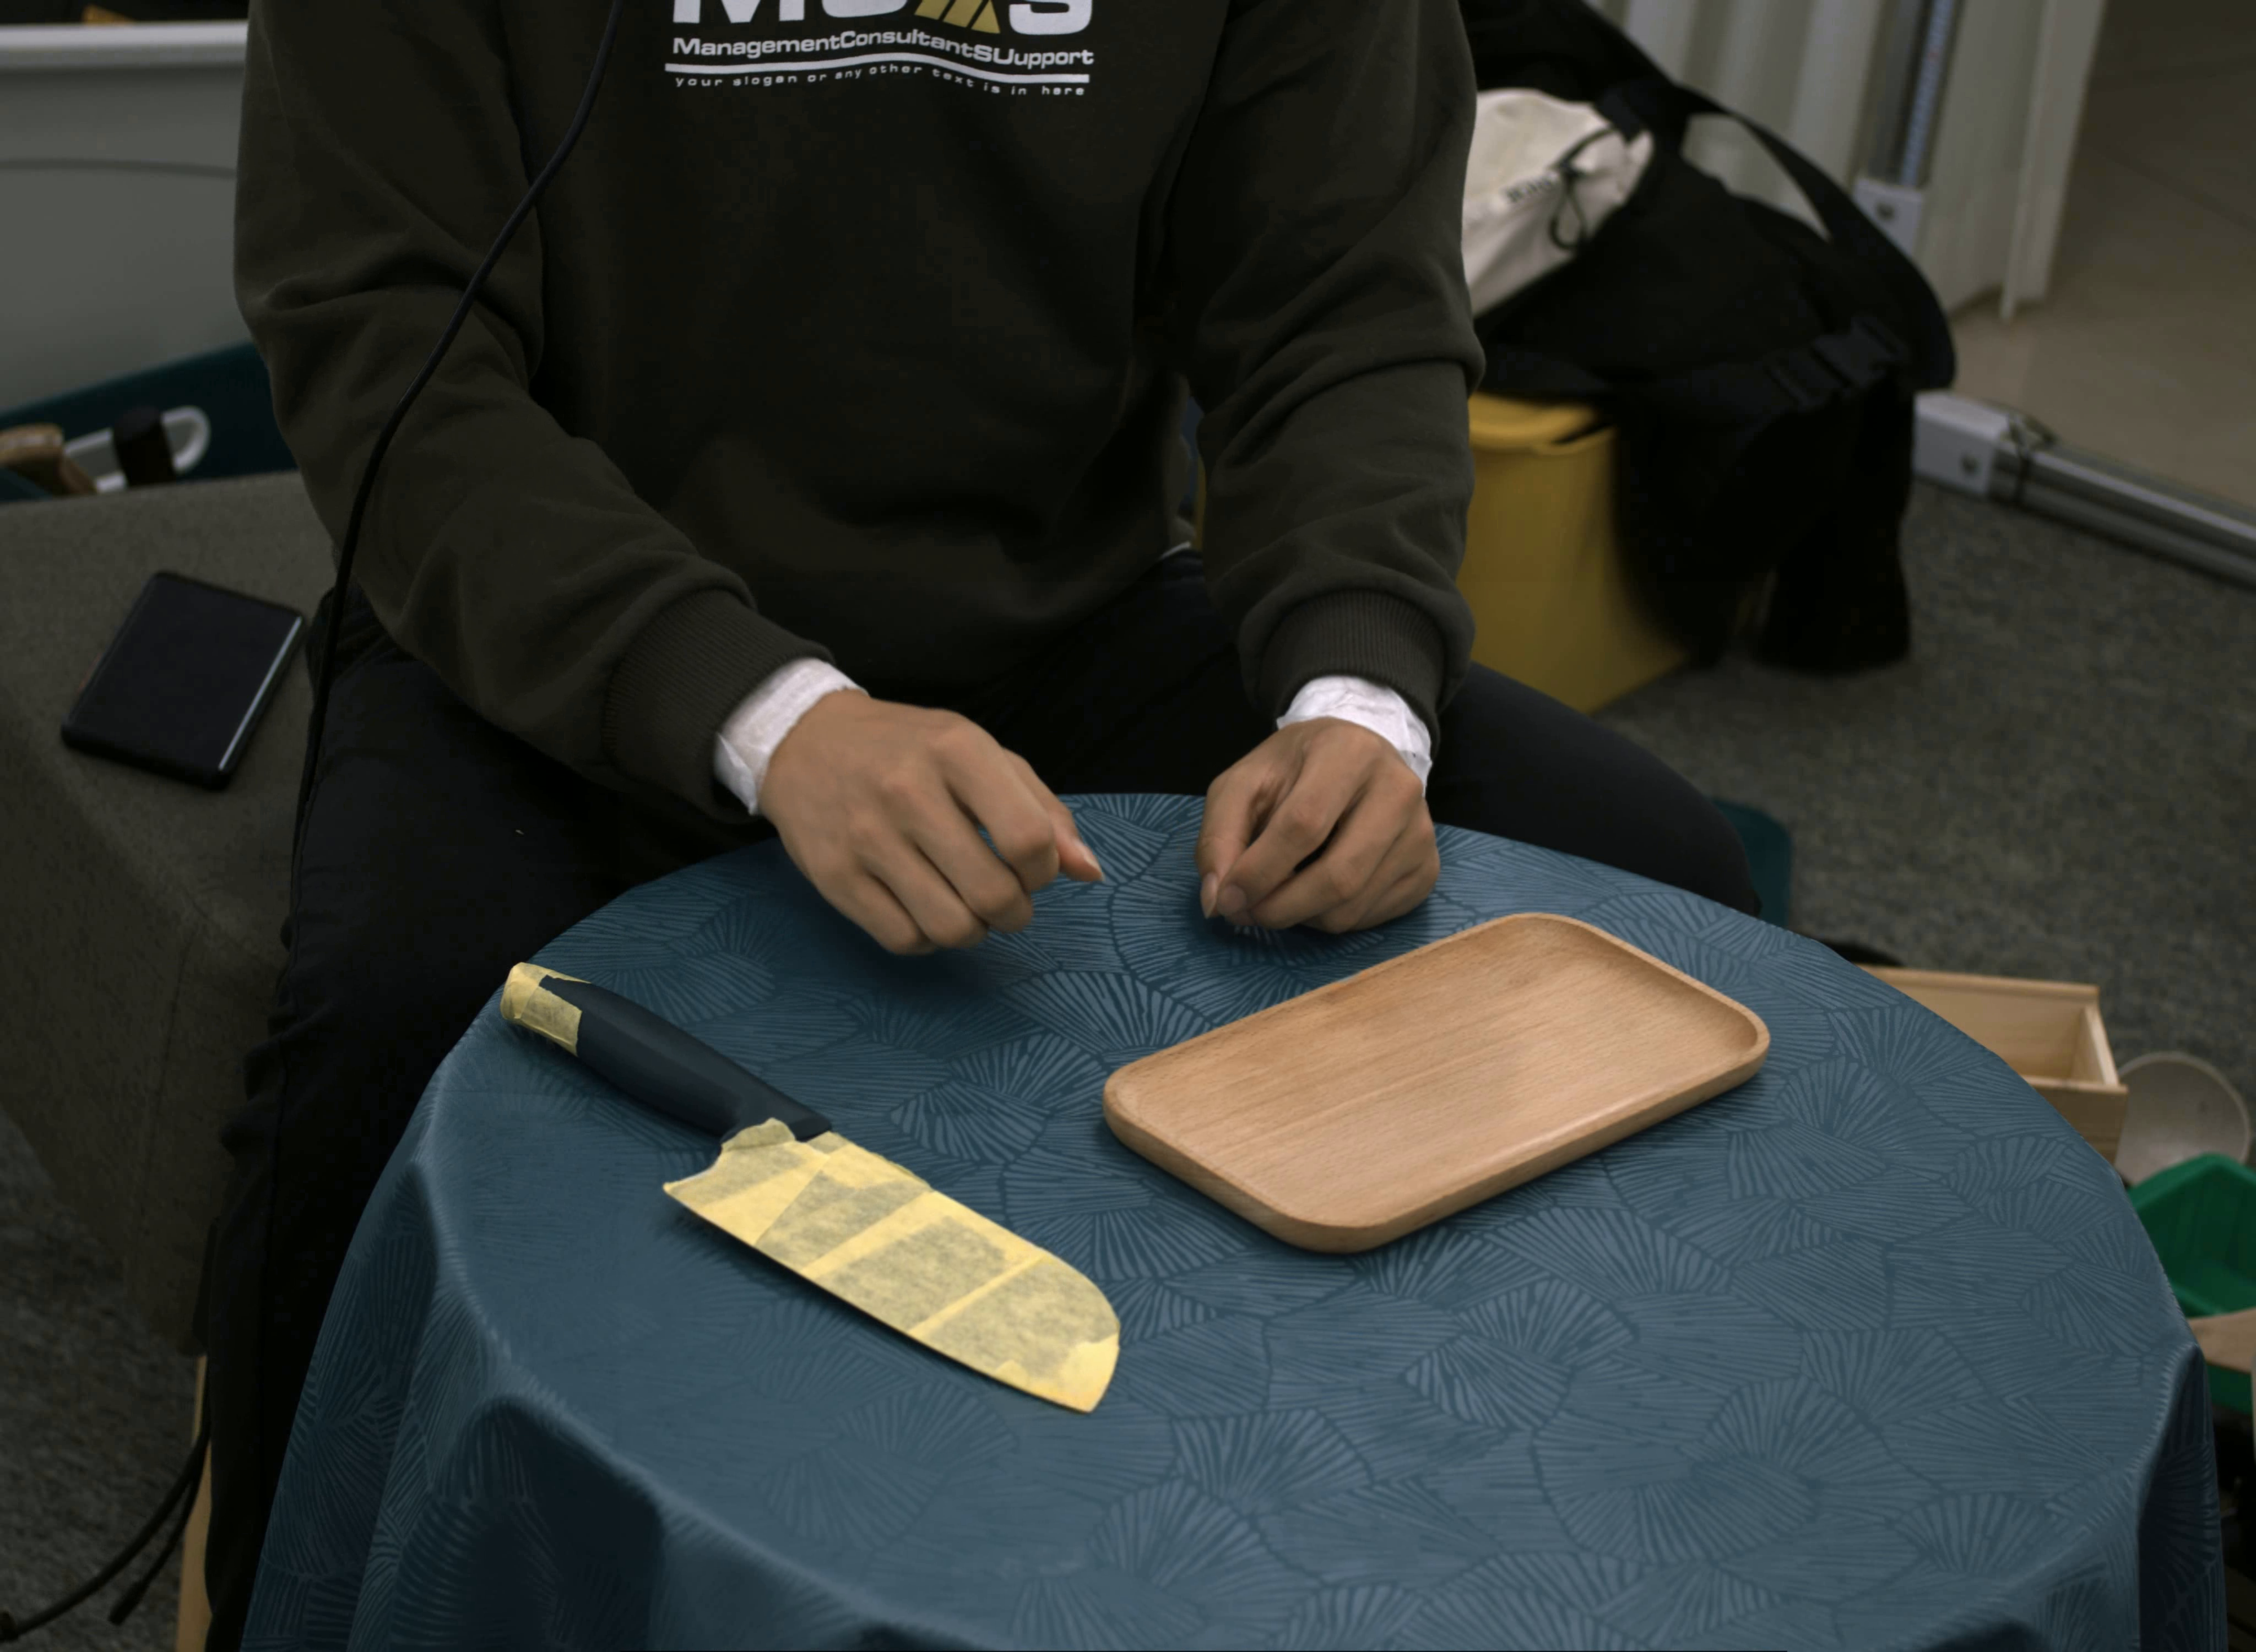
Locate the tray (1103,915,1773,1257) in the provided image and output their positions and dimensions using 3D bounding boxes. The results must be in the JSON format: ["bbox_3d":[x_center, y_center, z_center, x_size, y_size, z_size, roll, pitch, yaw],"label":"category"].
[{"bbox_3d":[0.112,0.090,1.880,0.249,0.023,0.131,-20,34,-41],"label":"tray"}]

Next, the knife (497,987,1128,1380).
[{"bbox_3d":[-0.113,0.120,1.771,0.291,0.027,0.080,27,31,33],"label":"knife"}]
